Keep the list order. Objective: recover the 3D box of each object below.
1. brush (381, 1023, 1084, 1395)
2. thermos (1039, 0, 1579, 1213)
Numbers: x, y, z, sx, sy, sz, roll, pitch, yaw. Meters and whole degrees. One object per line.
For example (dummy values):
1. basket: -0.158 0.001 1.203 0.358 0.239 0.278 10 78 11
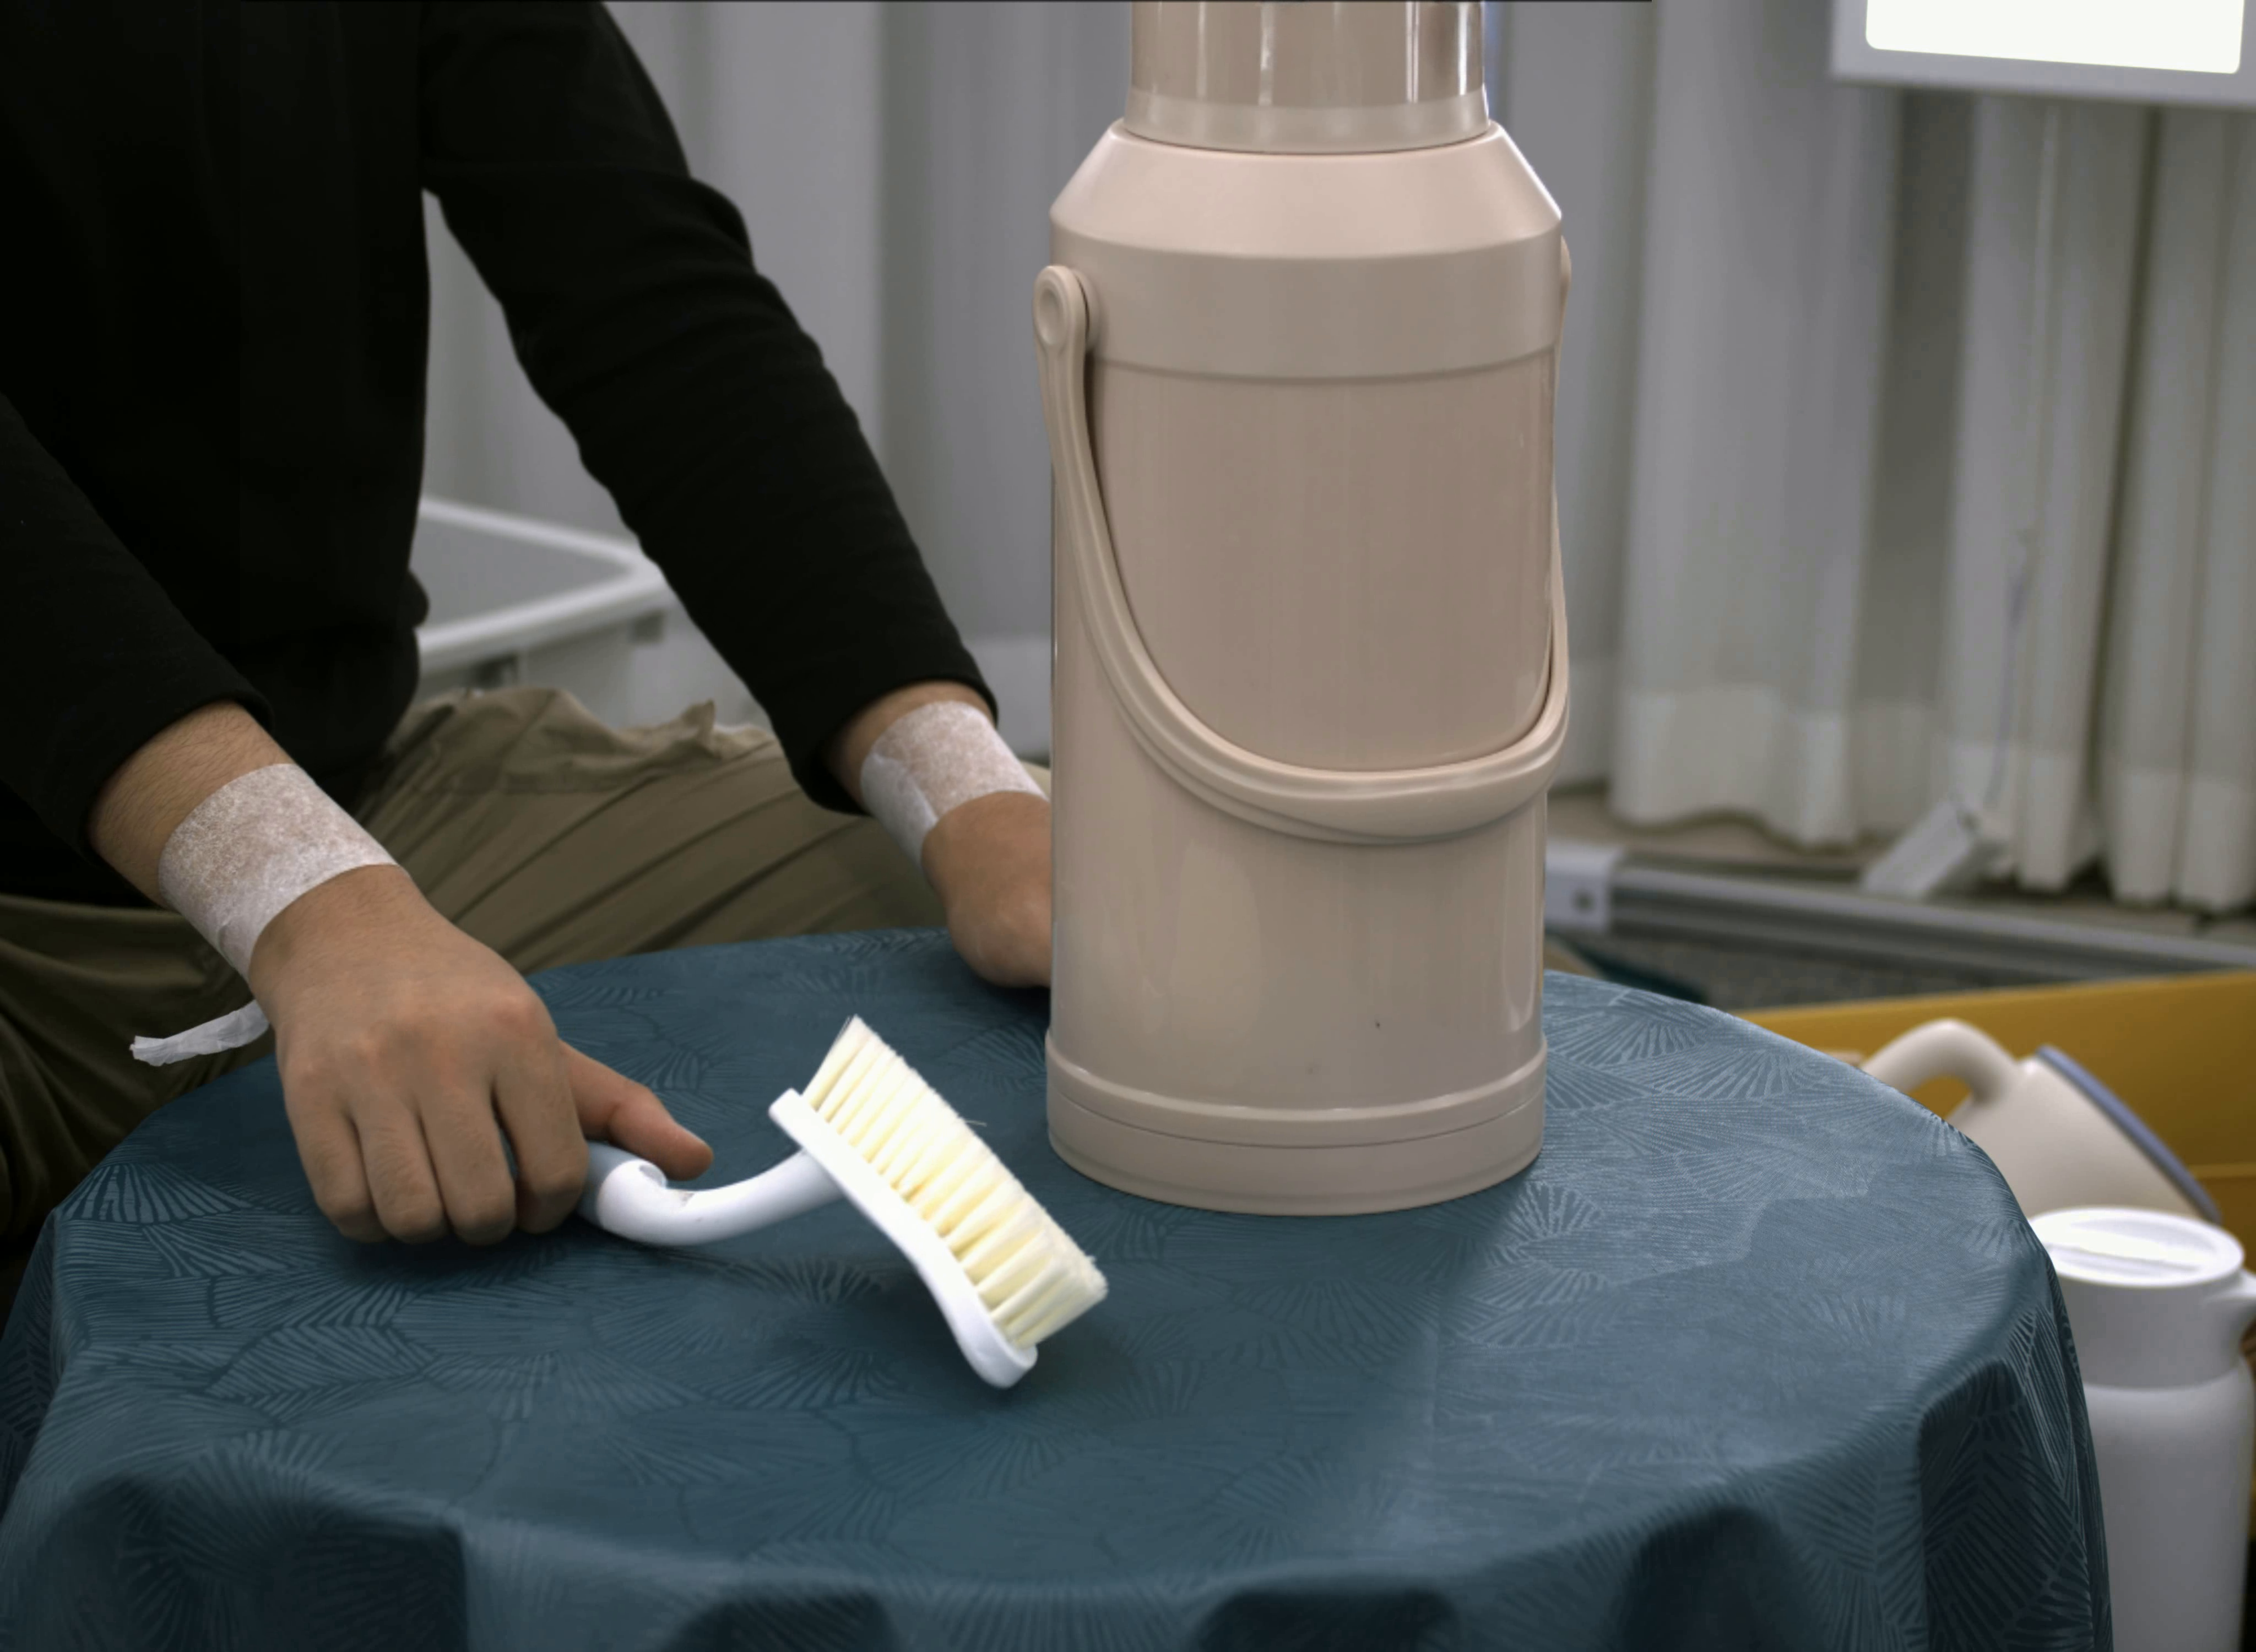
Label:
1. brush: -0.116 0.086 1.567 0.085 0.084 0.321 -14 22 -35
2. thermos: 0.050 -0.097 1.632 0.176 0.410 0.204 -10 19 -27
